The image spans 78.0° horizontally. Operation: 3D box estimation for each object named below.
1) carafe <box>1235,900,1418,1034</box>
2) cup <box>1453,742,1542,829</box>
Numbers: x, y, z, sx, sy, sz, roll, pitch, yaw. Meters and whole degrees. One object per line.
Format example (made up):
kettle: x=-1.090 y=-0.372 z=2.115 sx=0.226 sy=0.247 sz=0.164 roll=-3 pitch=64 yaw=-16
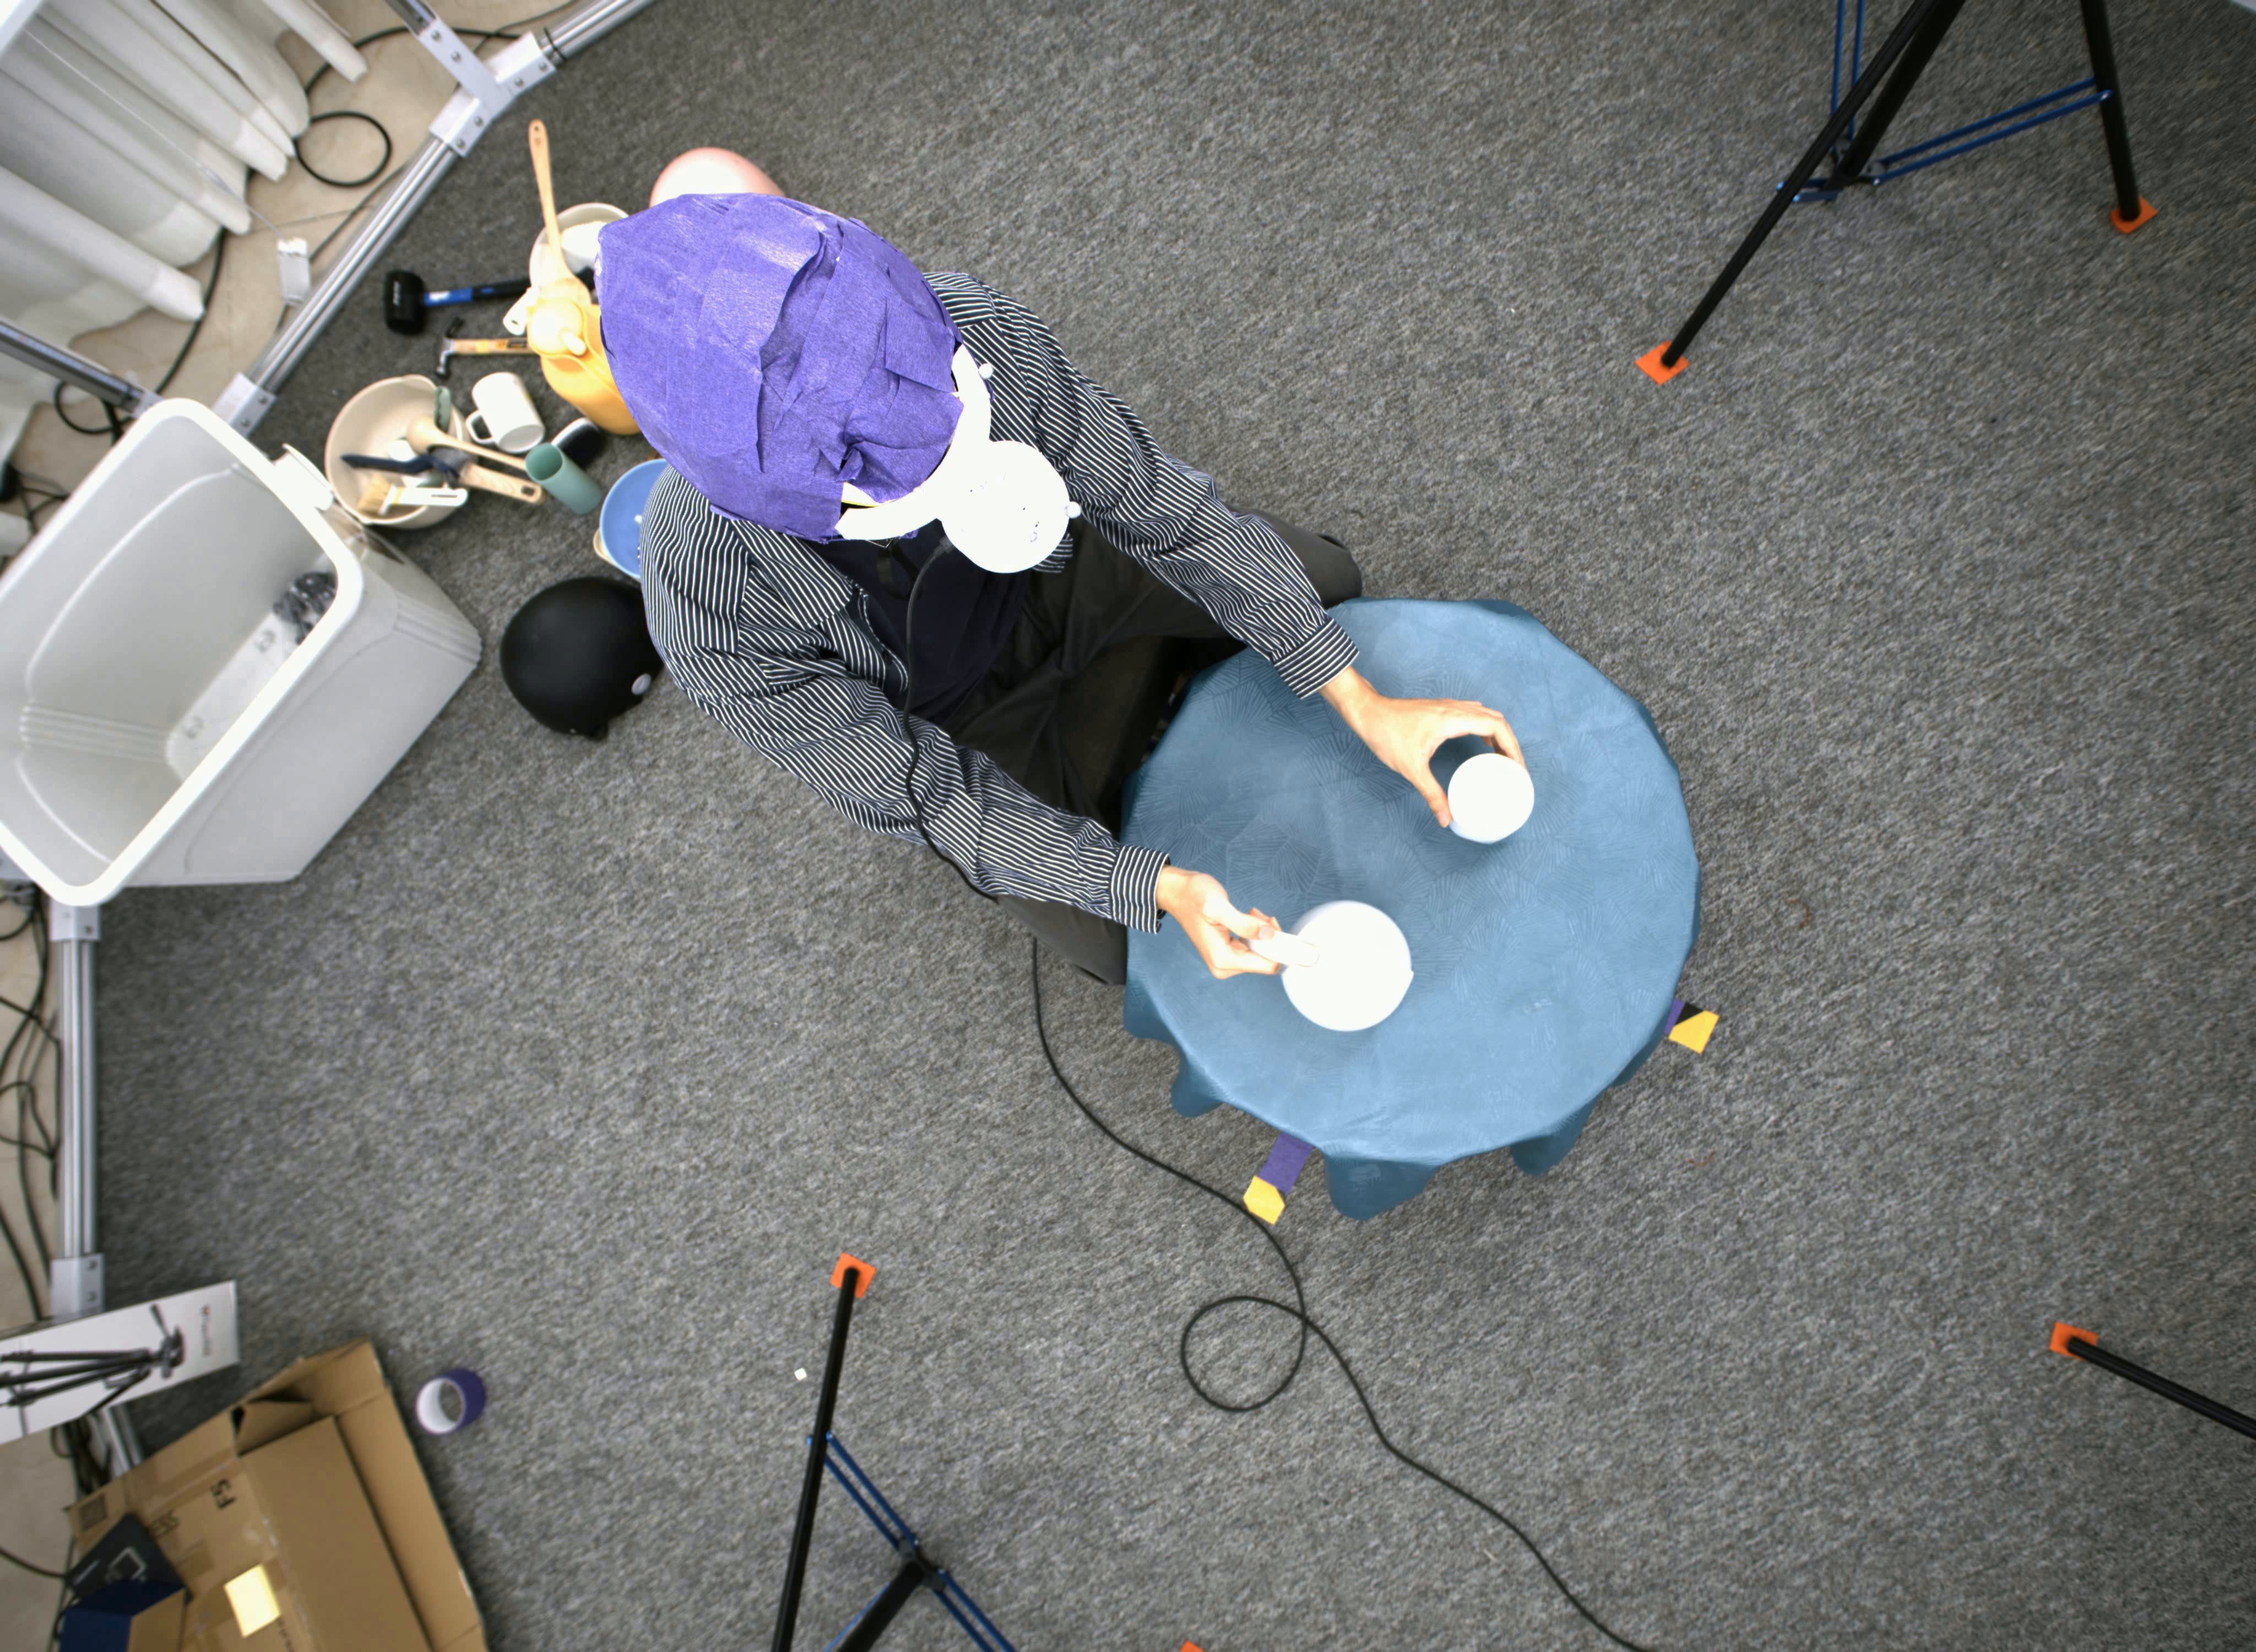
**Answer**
carafe: x=0.187 y=0.134 z=1.330 sx=0.168 sy=0.248 sz=0.132 roll=8 pitch=89 yaw=8
cup: x=0.364 y=-0.038 z=1.369 sx=0.082 sy=0.125 sz=0.081 roll=0 pitch=87 yaw=10
